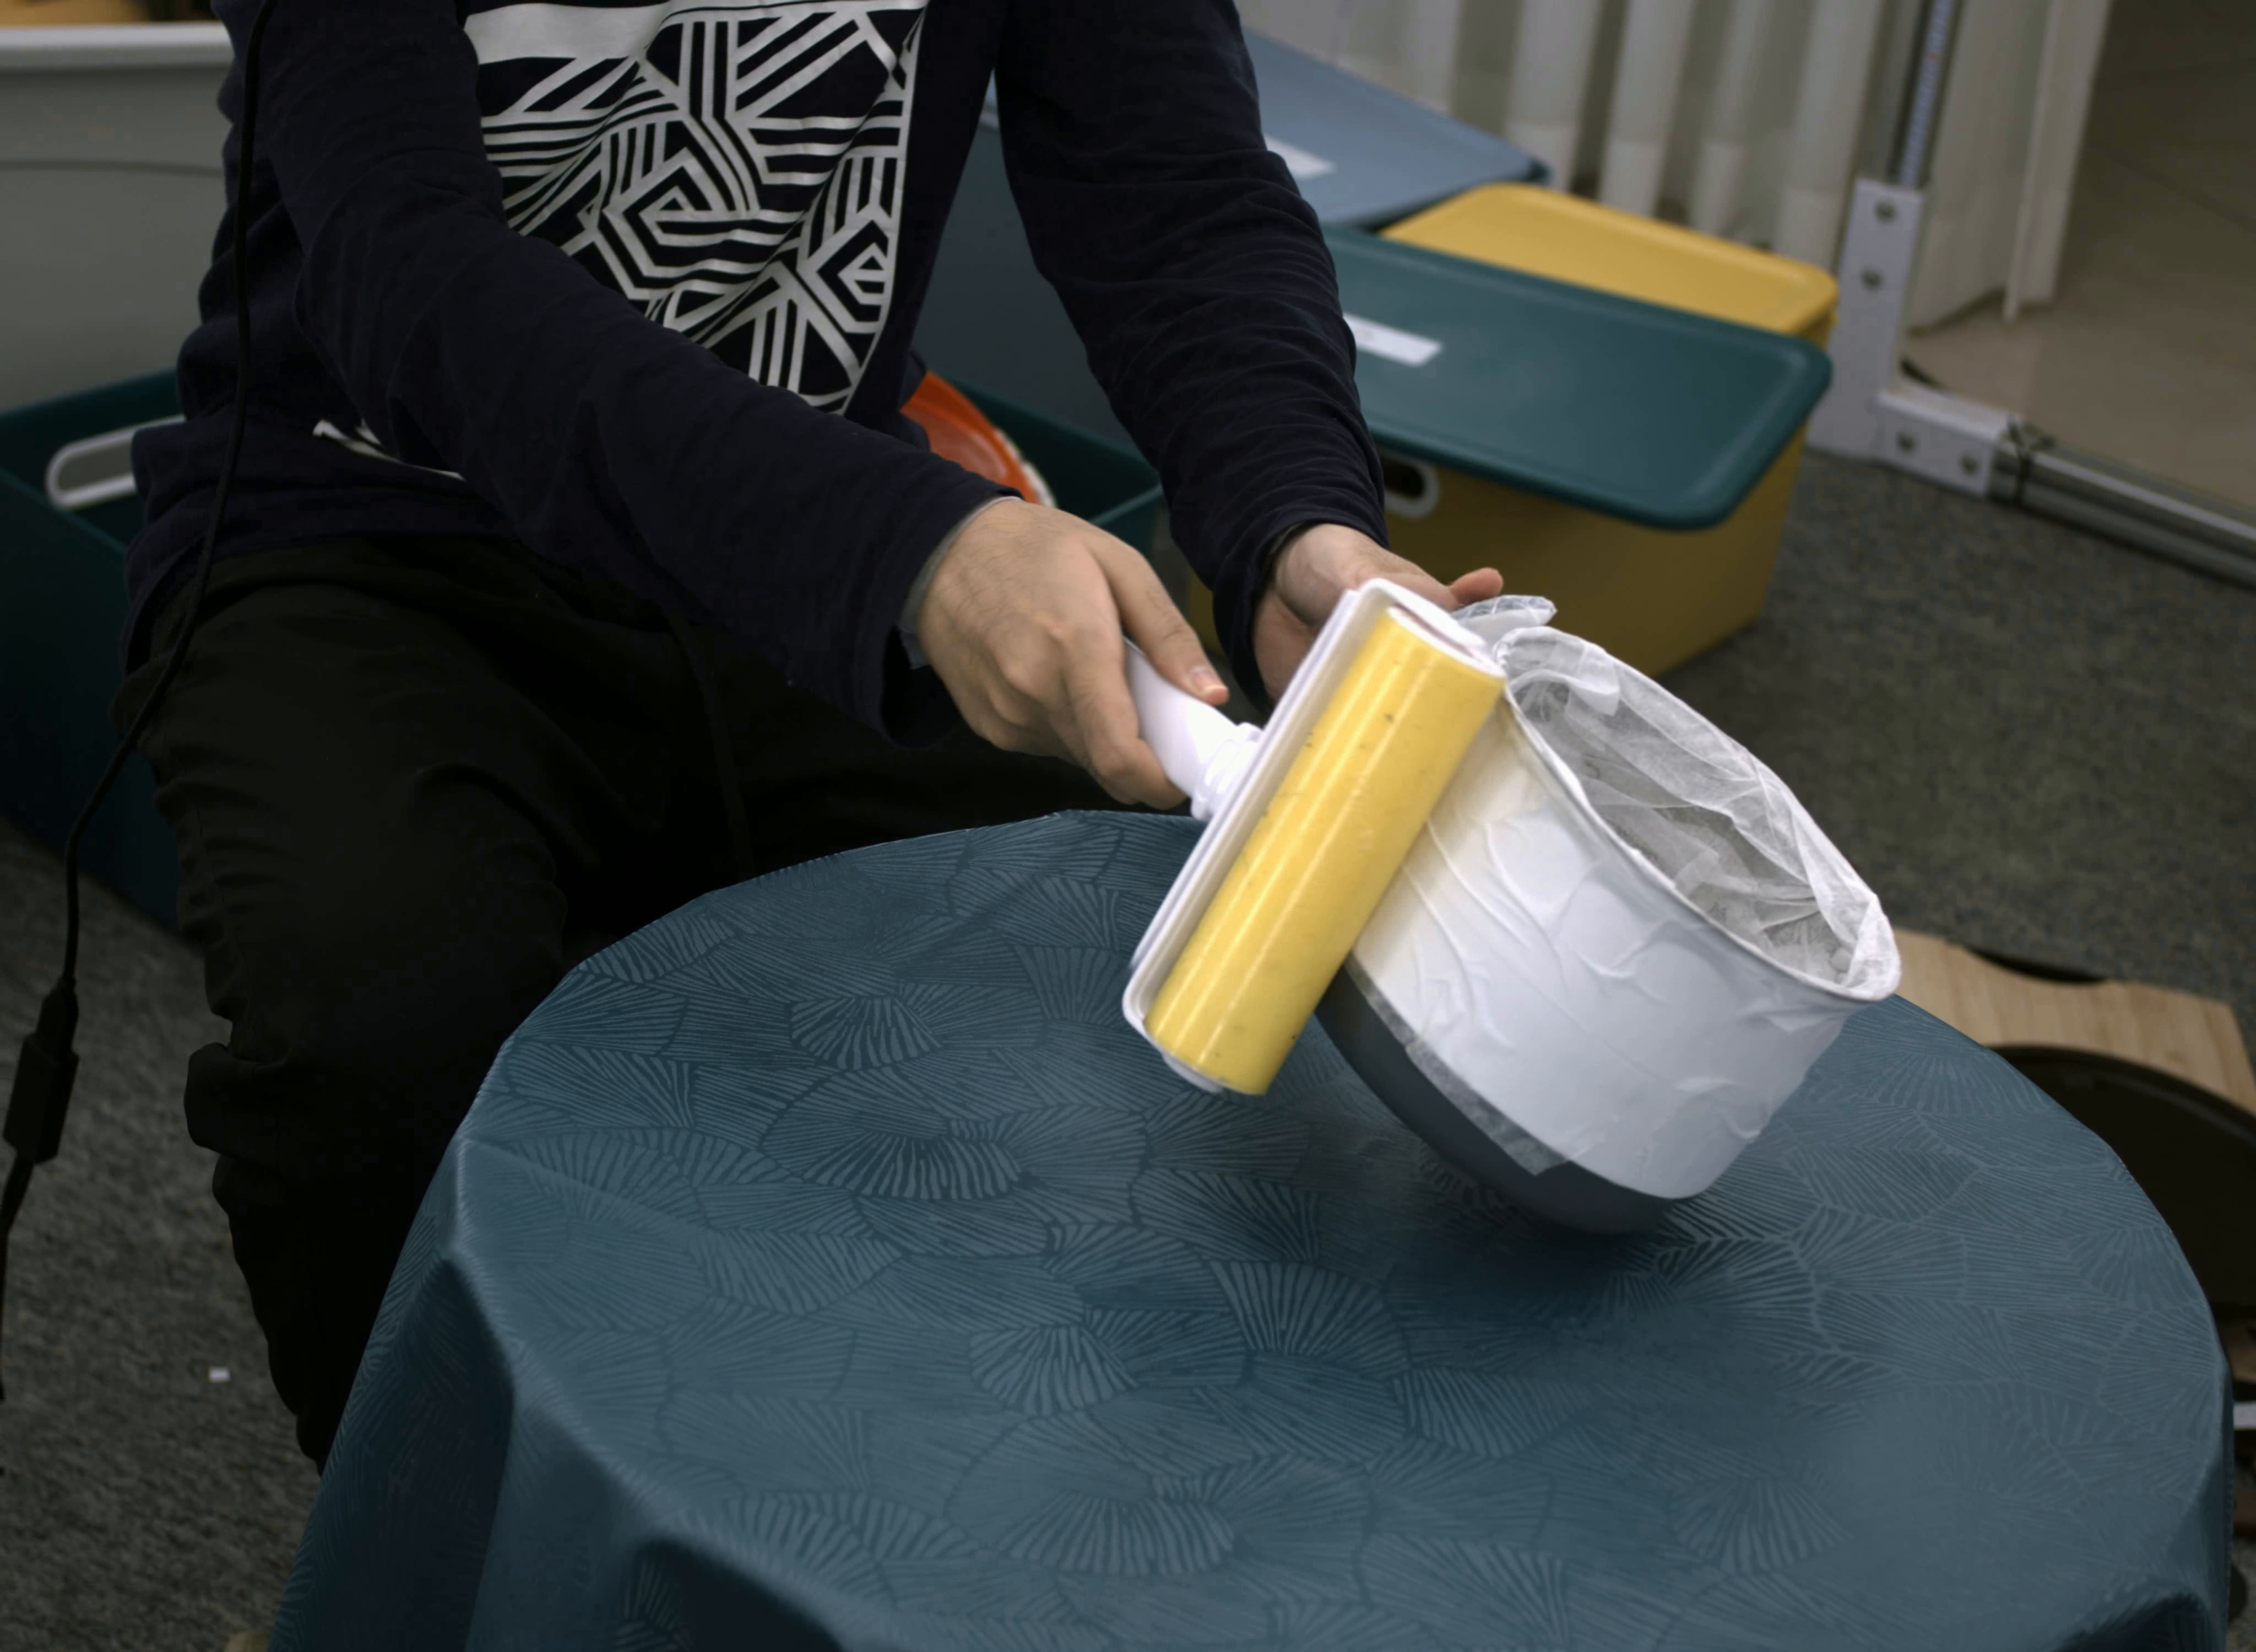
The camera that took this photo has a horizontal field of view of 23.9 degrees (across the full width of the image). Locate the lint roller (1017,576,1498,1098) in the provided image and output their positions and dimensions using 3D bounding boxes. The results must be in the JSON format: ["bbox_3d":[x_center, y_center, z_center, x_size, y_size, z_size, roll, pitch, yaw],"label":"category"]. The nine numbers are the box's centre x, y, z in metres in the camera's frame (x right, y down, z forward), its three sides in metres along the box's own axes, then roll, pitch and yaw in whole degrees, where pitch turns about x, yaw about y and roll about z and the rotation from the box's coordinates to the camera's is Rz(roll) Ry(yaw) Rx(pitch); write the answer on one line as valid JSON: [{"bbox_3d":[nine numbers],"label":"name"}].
[{"bbox_3d":[0.016,-0.025,1.784,0.193,0.174,0.051,35,12,37],"label":"lint roller"}]

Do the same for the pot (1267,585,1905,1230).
[{"bbox_3d":[0.140,0.017,1.811,0.177,0.136,0.236,13,35,-53],"label":"pot"}]
